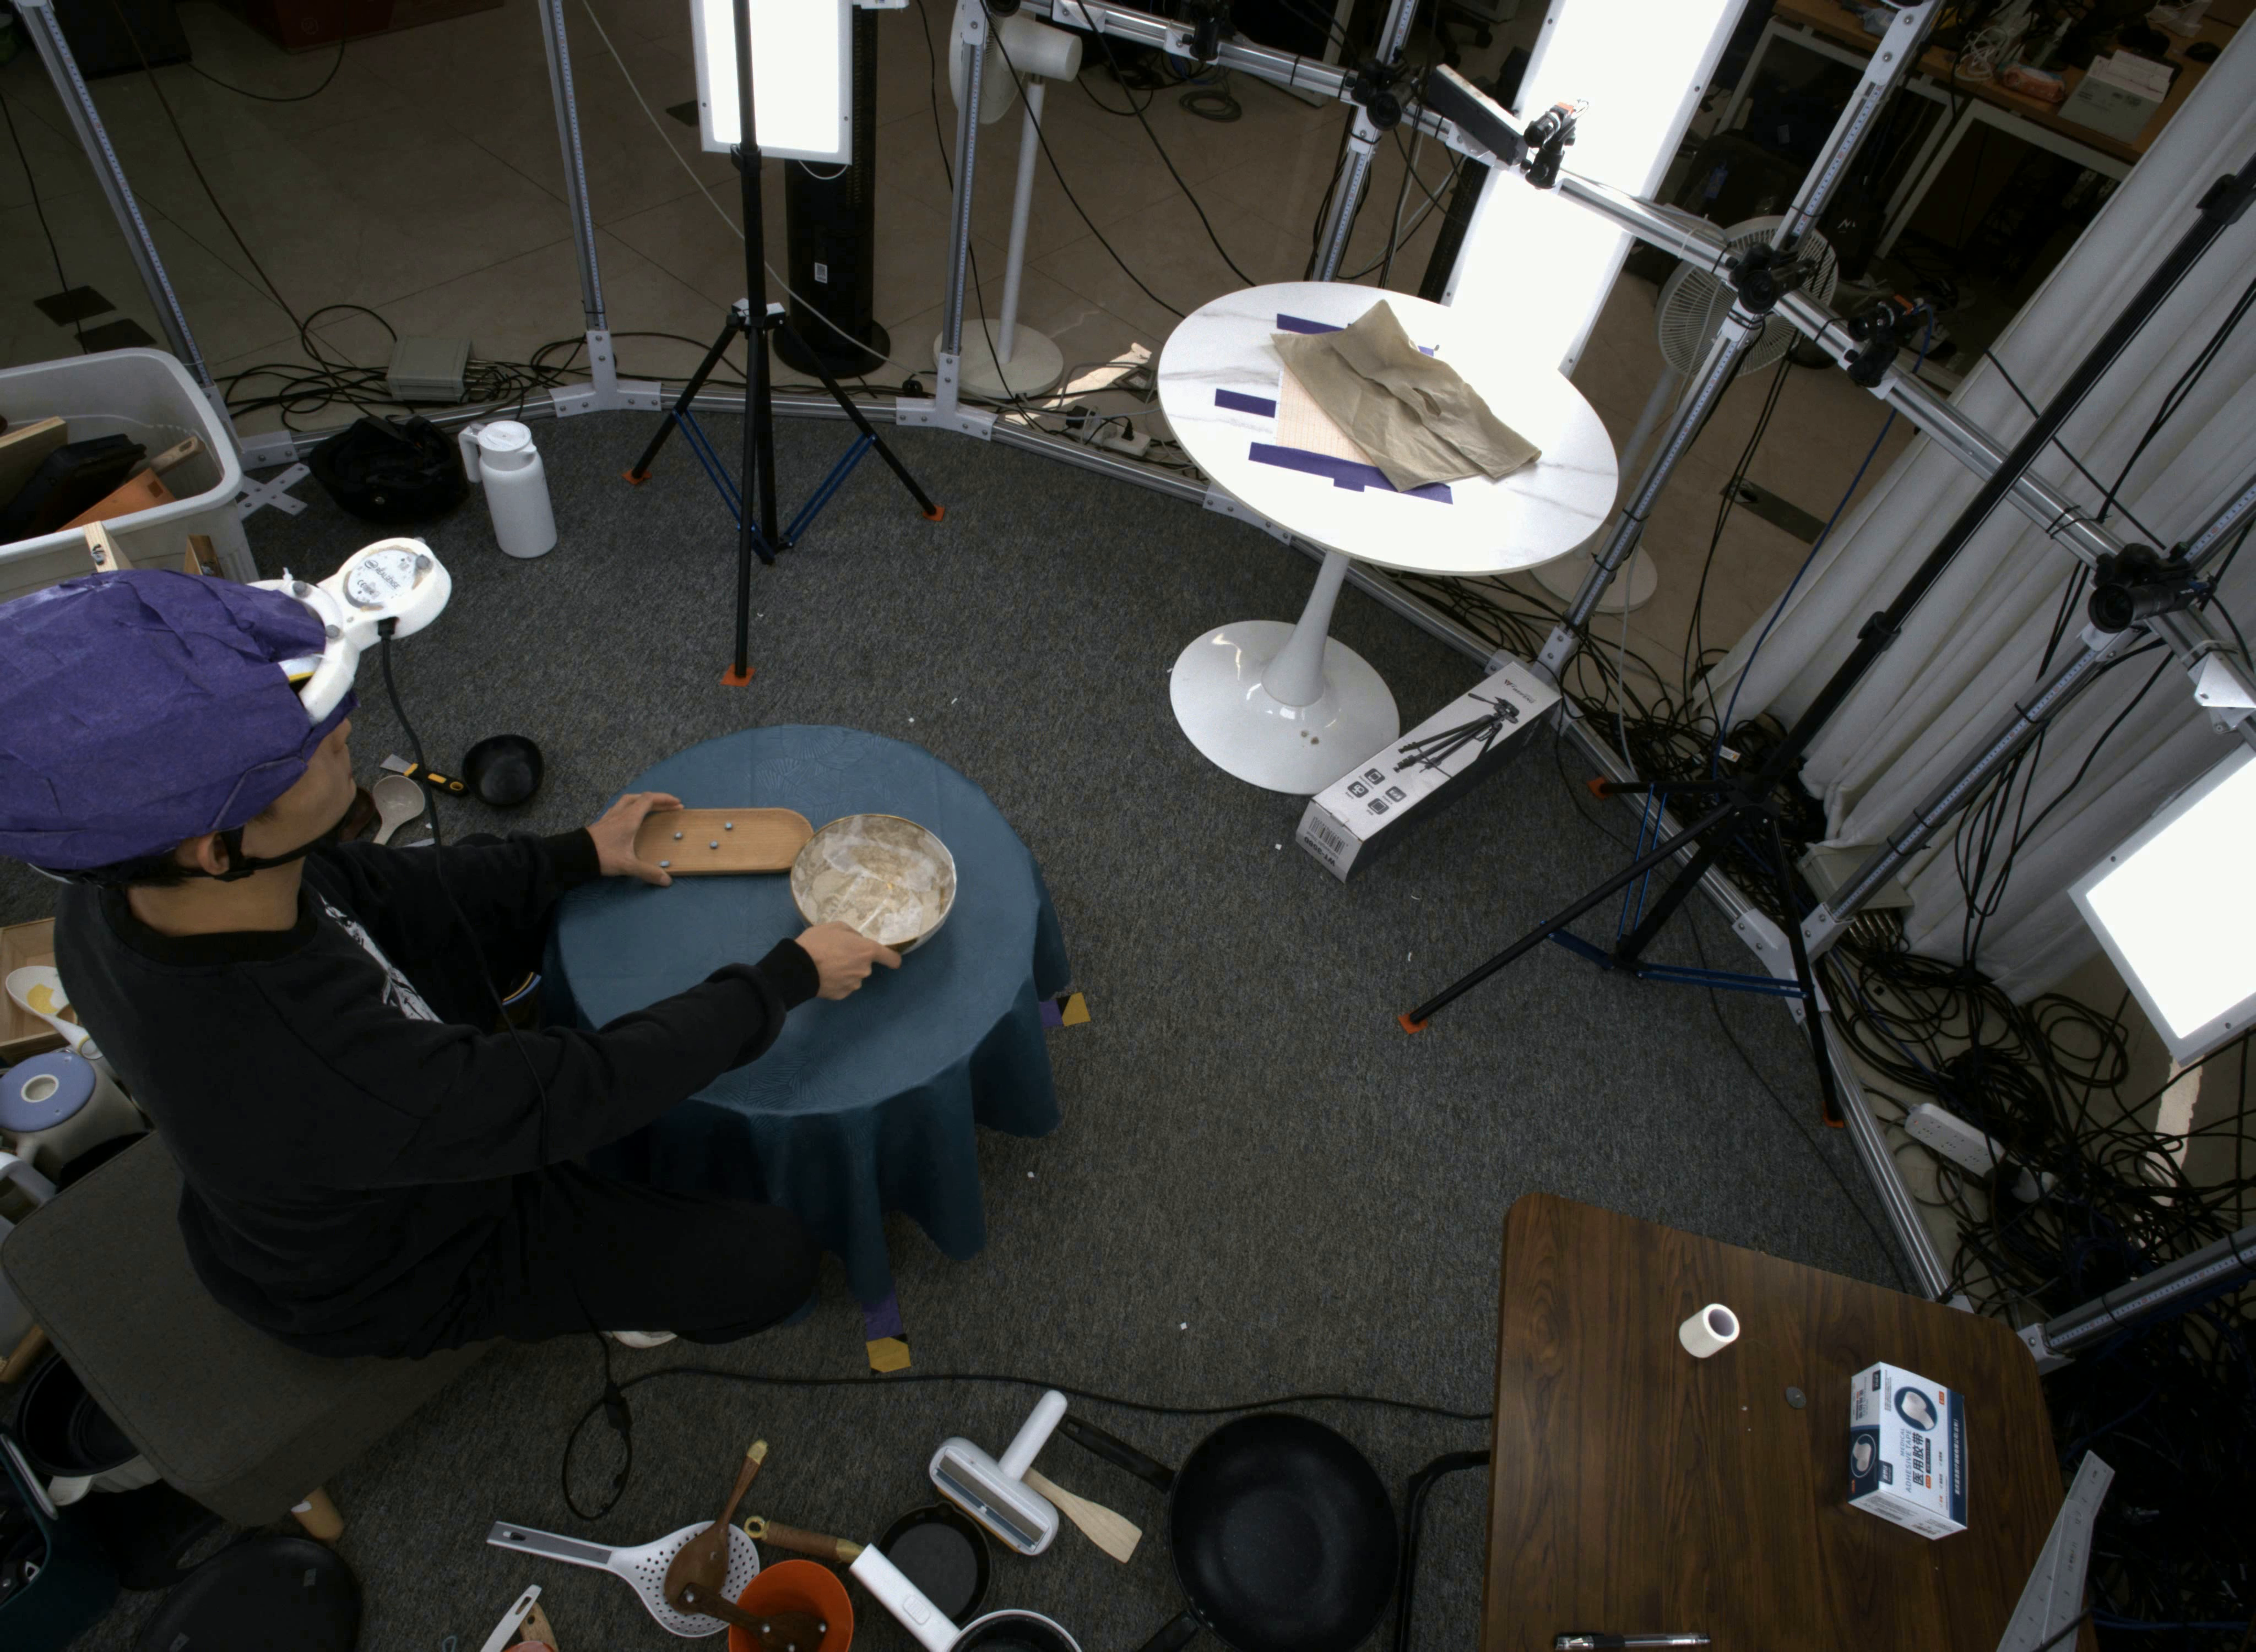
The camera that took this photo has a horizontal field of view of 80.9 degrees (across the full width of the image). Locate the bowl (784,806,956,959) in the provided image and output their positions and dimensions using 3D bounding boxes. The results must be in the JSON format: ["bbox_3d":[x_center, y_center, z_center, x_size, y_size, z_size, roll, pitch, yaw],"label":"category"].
[{"bbox_3d":[-0.323,0.085,1.631,0.214,0.096,0.211,7,53,-8],"label":"bowl"}]

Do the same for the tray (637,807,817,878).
[{"bbox_3d":[-0.521,0.019,1.680,0.232,0.020,0.099,-1,56,-17],"label":"tray"}]
